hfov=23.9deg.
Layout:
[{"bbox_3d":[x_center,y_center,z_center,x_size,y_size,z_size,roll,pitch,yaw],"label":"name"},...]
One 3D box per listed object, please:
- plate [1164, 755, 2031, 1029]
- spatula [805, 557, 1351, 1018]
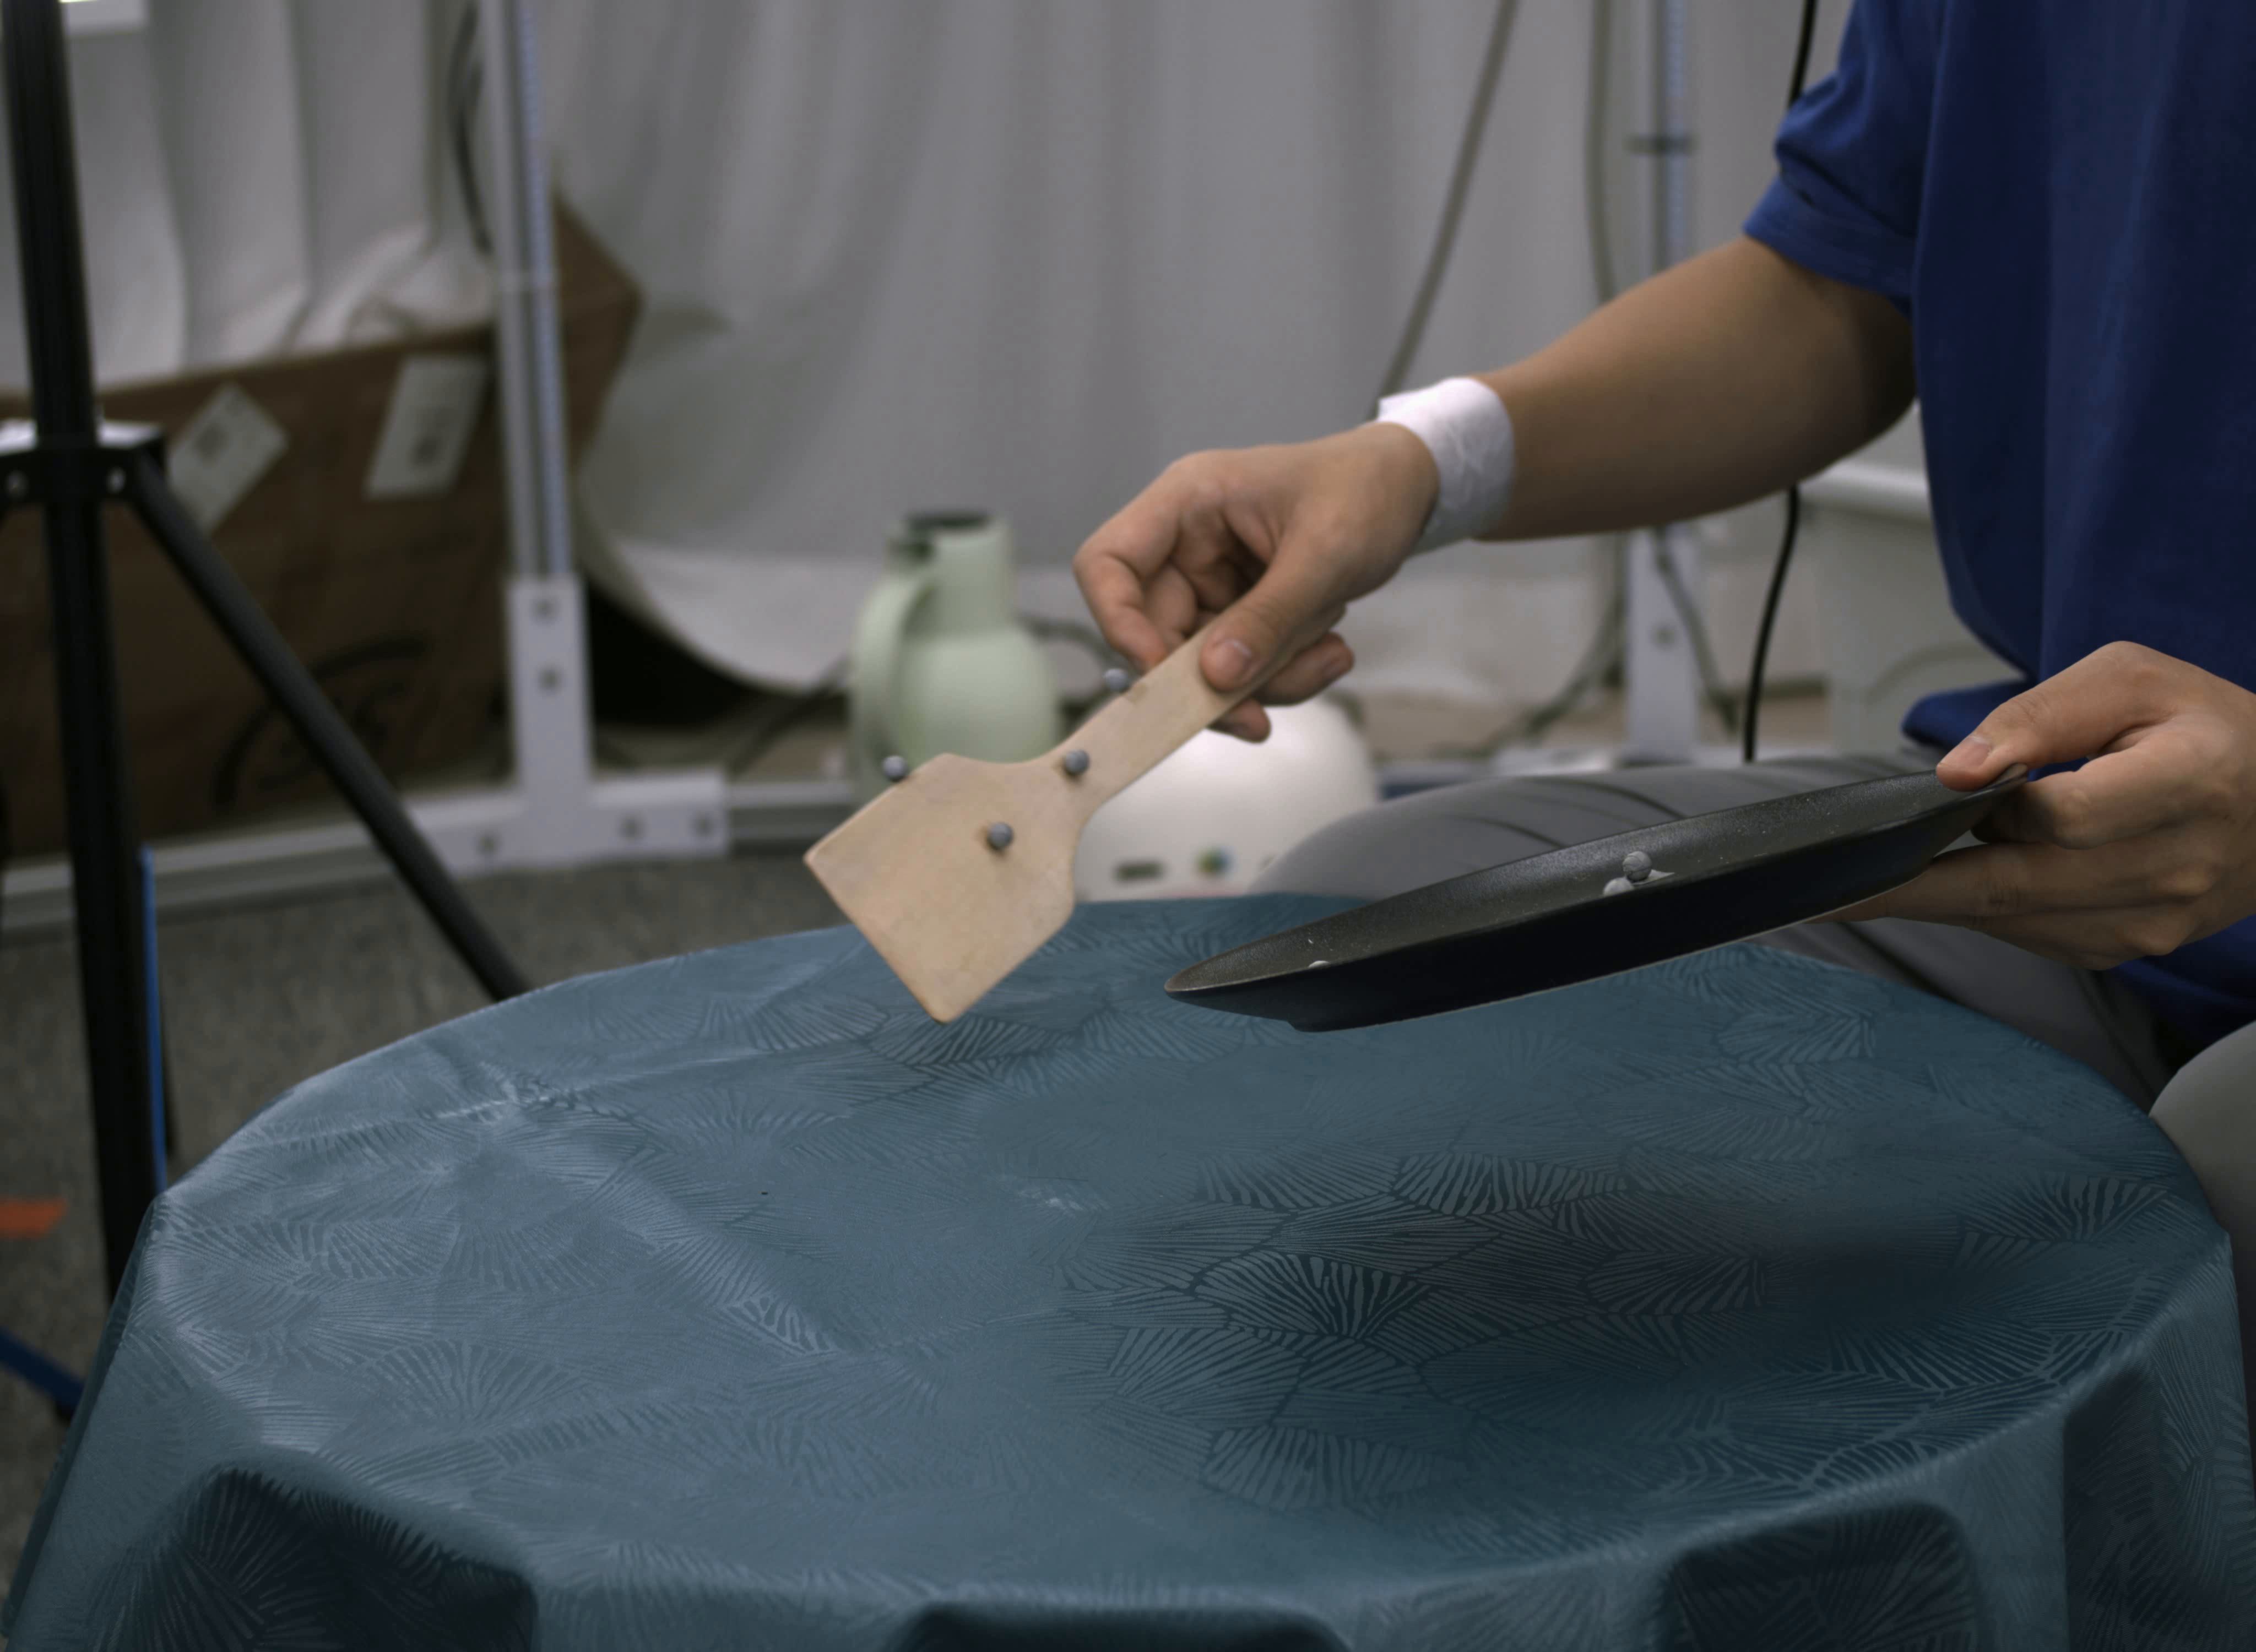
[{"bbox_3d":[0.130,0.022,1.449,0.243,0.023,0.244,-15,2,-1],"label":"plate"},{"bbox_3d":[-0.006,-0.026,1.767,0.289,0.072,0.011,-39,-5,-47],"label":"spatula"}]
